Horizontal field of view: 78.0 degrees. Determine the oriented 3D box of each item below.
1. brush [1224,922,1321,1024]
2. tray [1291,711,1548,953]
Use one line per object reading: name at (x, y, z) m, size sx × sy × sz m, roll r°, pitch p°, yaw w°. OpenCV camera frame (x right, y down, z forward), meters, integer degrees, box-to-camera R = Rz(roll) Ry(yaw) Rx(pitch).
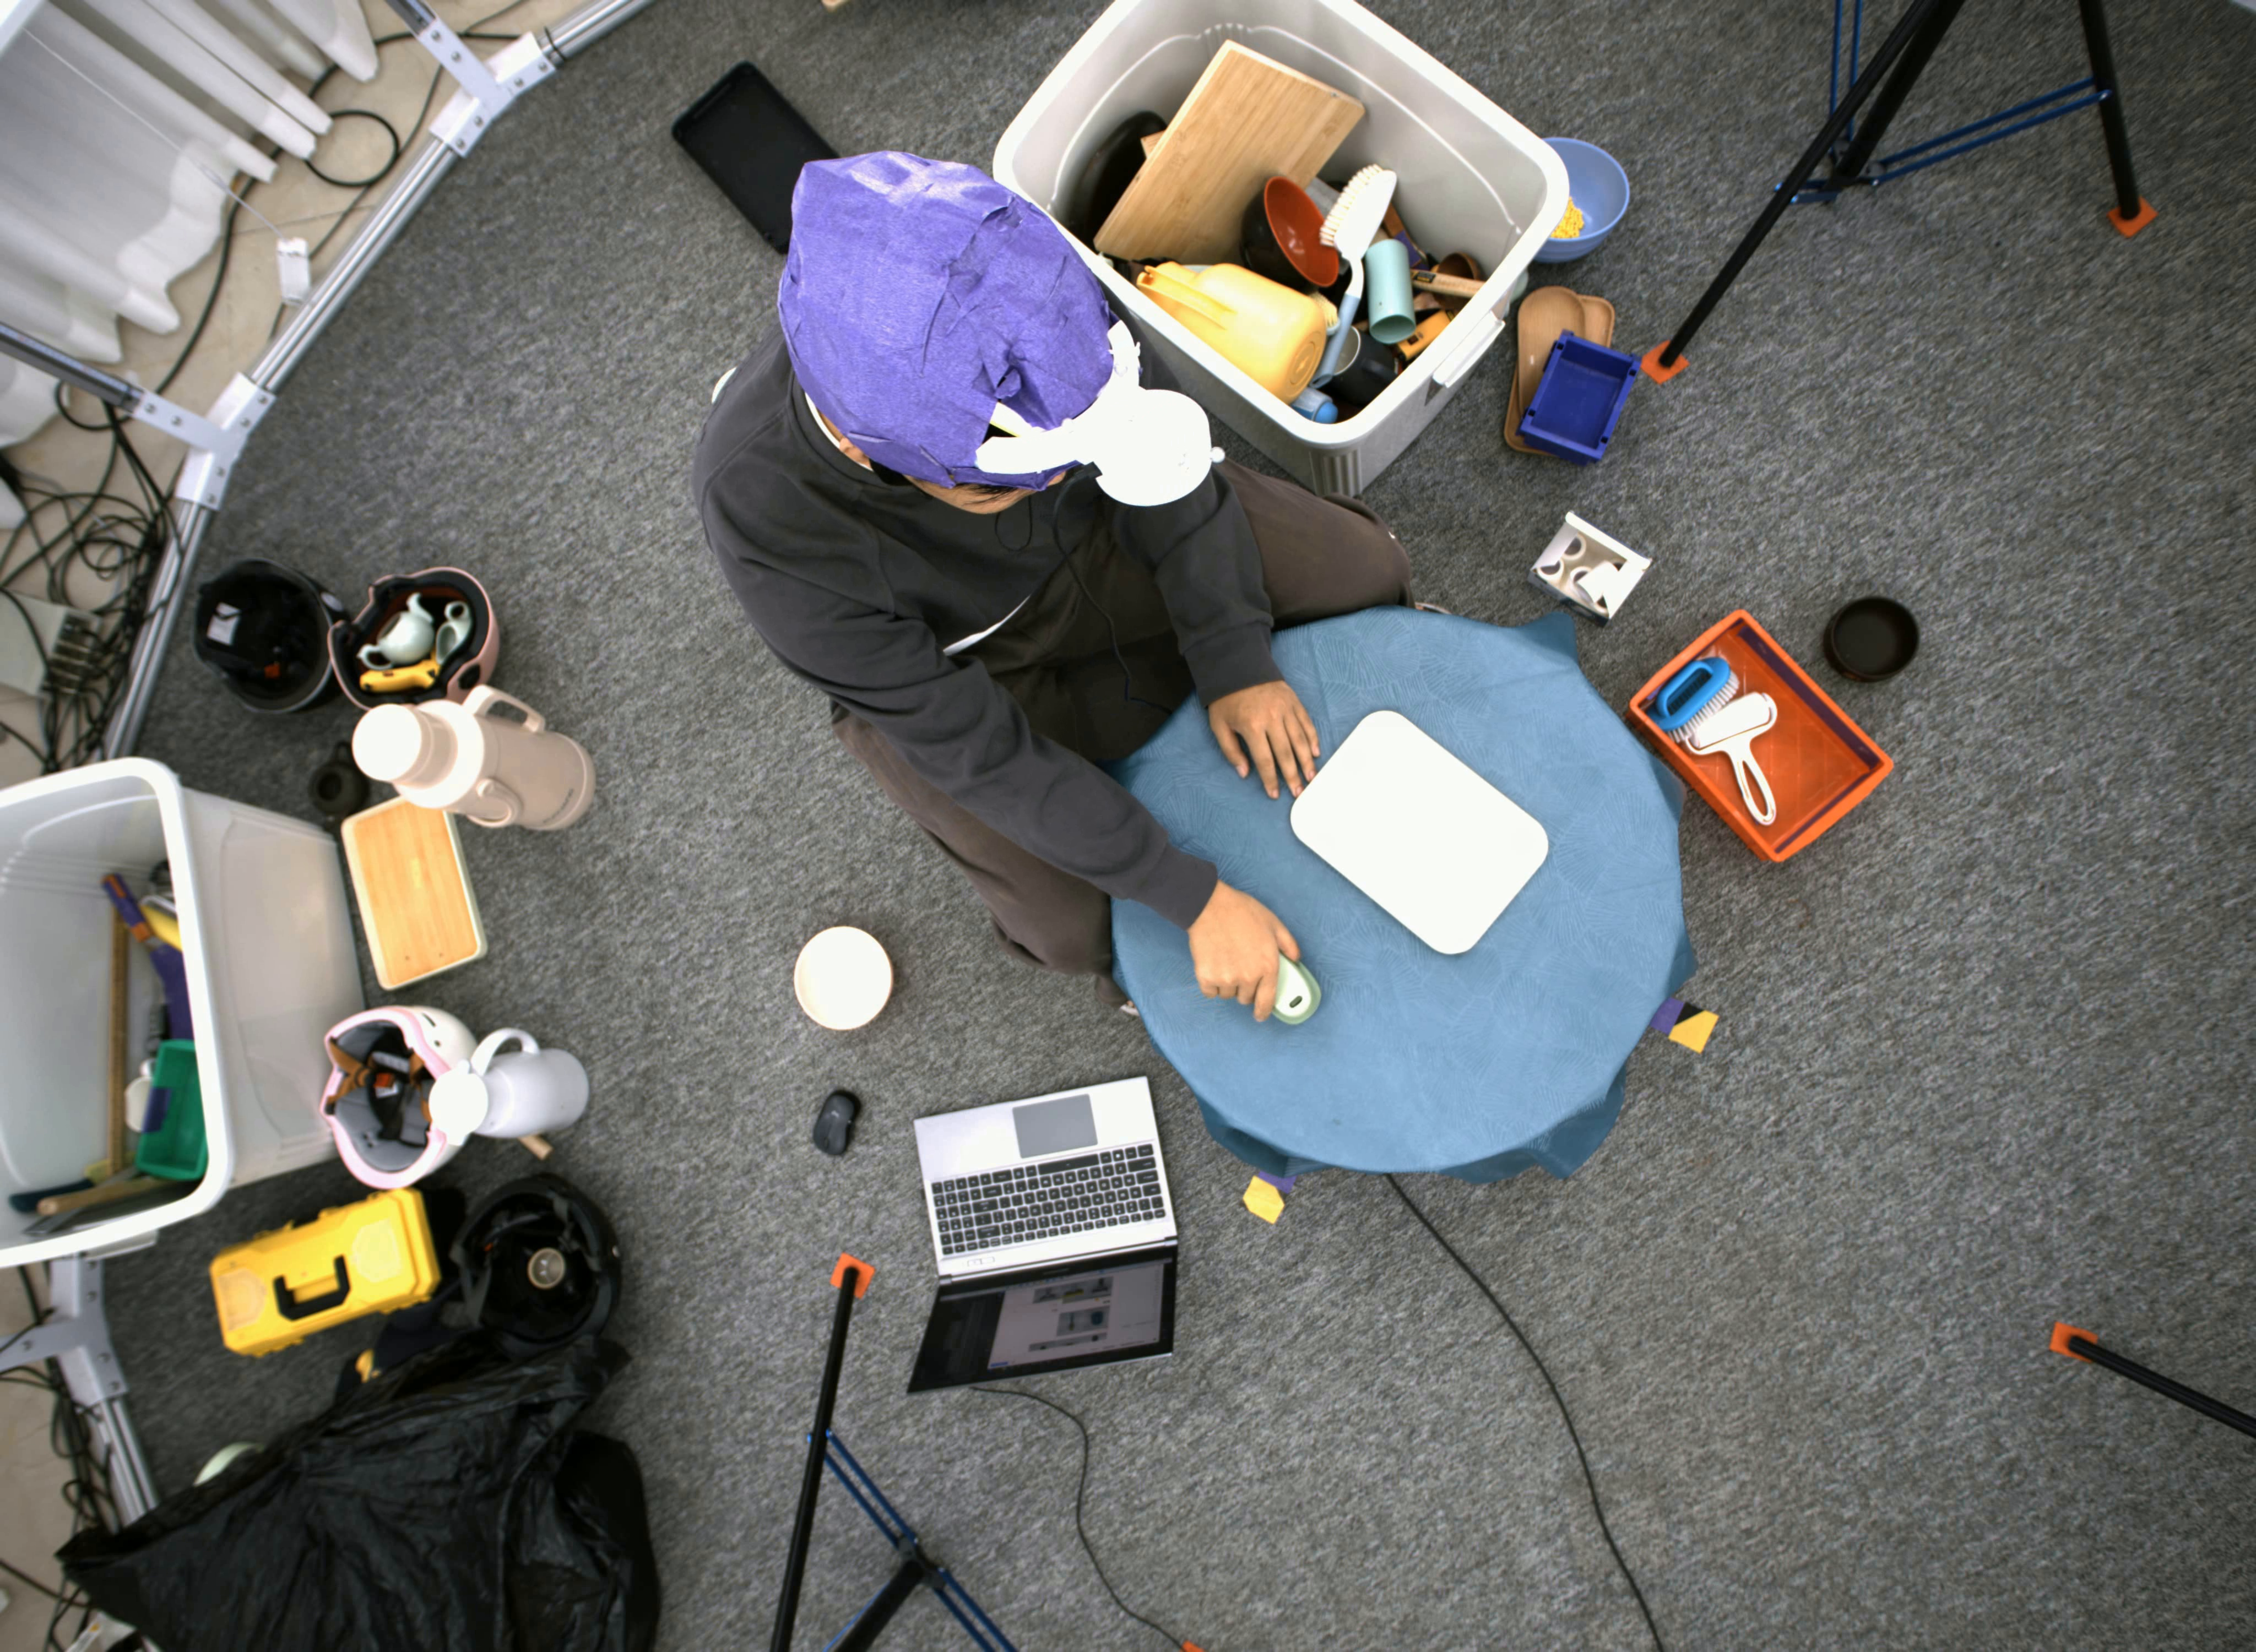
brush at (0.152, 0.154, 1.451) m, size 0.060 × 0.076 × 0.121 m, roll -42°, pitch 66°, yaw 3°
tray at (0.305, 0.004, 1.449) m, size 0.239 × 0.017 × 0.172 m, roll 40°, pitch 94°, yaw 11°
